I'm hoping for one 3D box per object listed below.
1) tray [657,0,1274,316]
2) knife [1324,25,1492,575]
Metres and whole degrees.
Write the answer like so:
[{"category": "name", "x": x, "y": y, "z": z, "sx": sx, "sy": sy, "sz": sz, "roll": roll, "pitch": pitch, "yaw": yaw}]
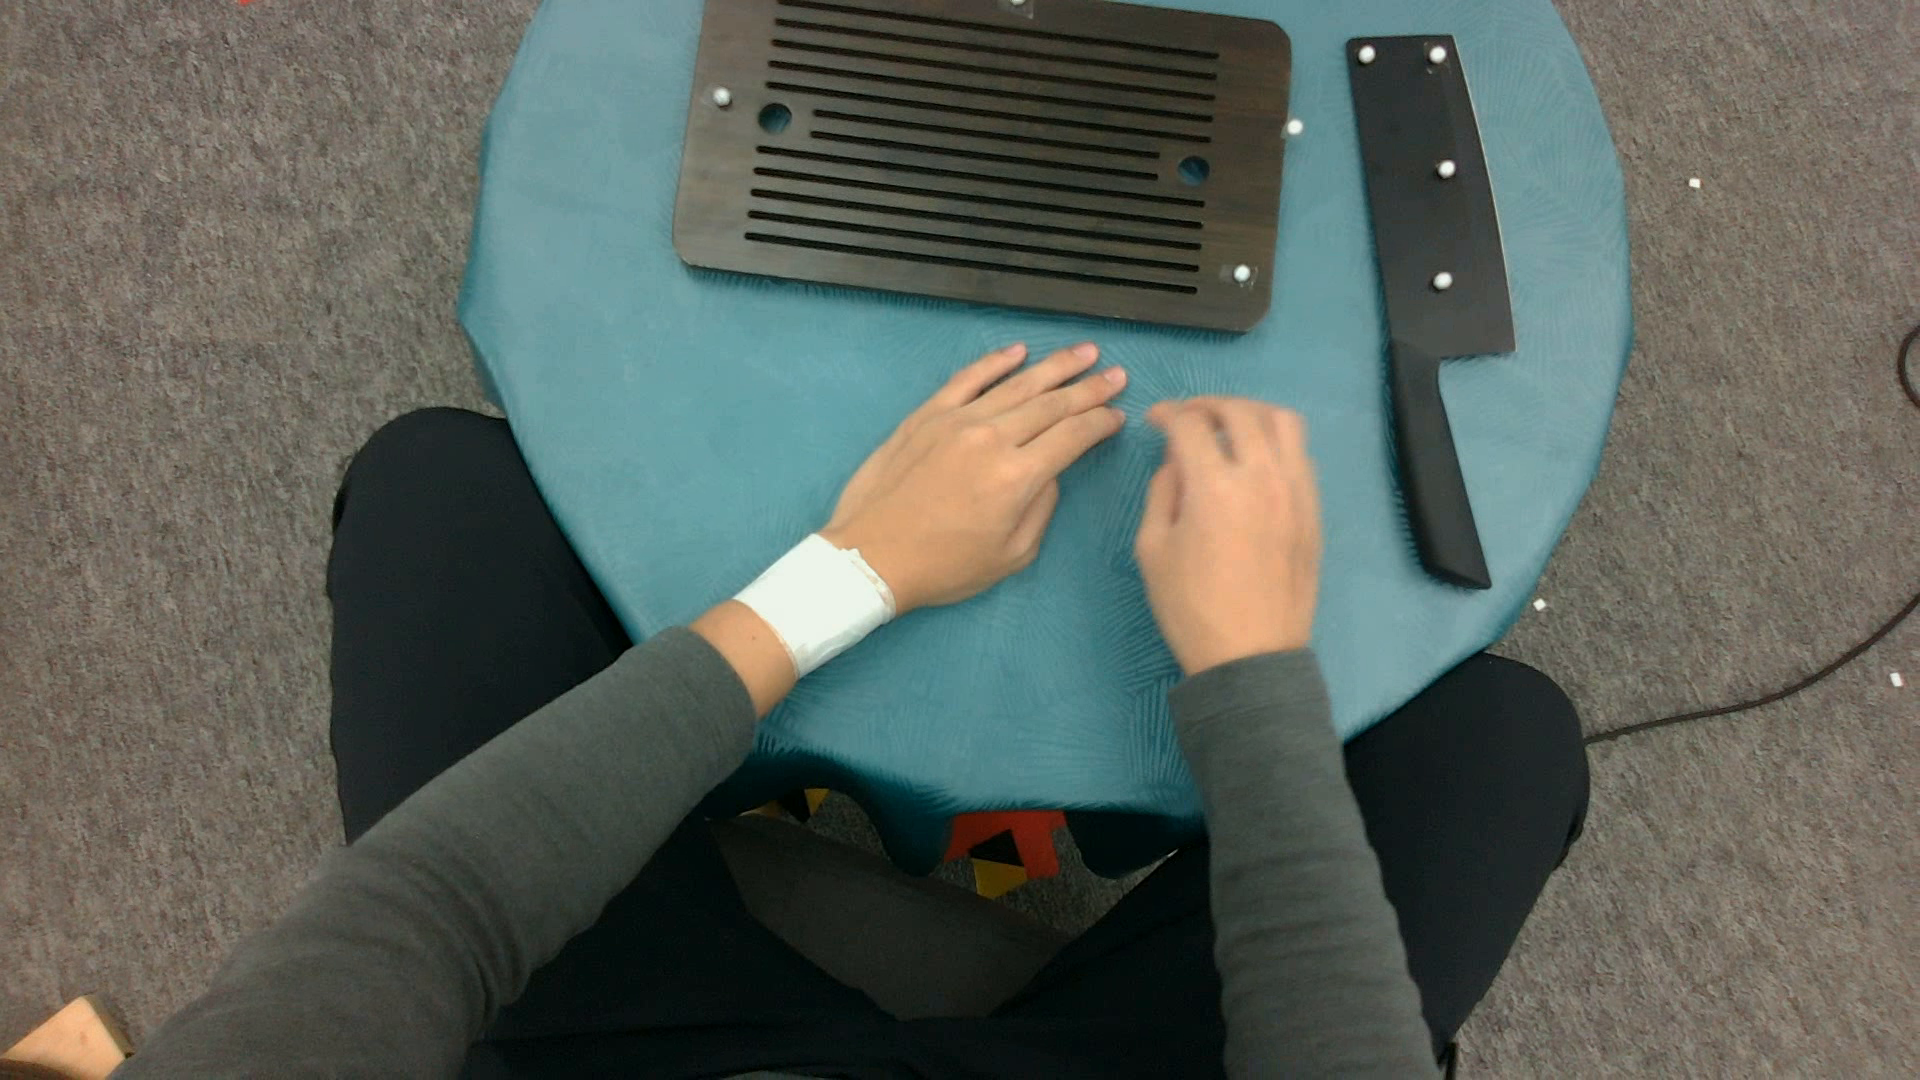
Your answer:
[{"category": "tray", "x": 0.006, "y": -0.213, "z": 0.714, "sx": 0.306, "sy": 0.018, "sz": 0.170, "roll": 7, "pitch": 81, "yaw": -2}, {"category": "knife", "x": 0.239, "y": -0.131, "z": 0.716, "sx": 0.081, "sy": 0.021, "sz": 0.303, "roll": 0, "pitch": 79, "yaw": -5}]
